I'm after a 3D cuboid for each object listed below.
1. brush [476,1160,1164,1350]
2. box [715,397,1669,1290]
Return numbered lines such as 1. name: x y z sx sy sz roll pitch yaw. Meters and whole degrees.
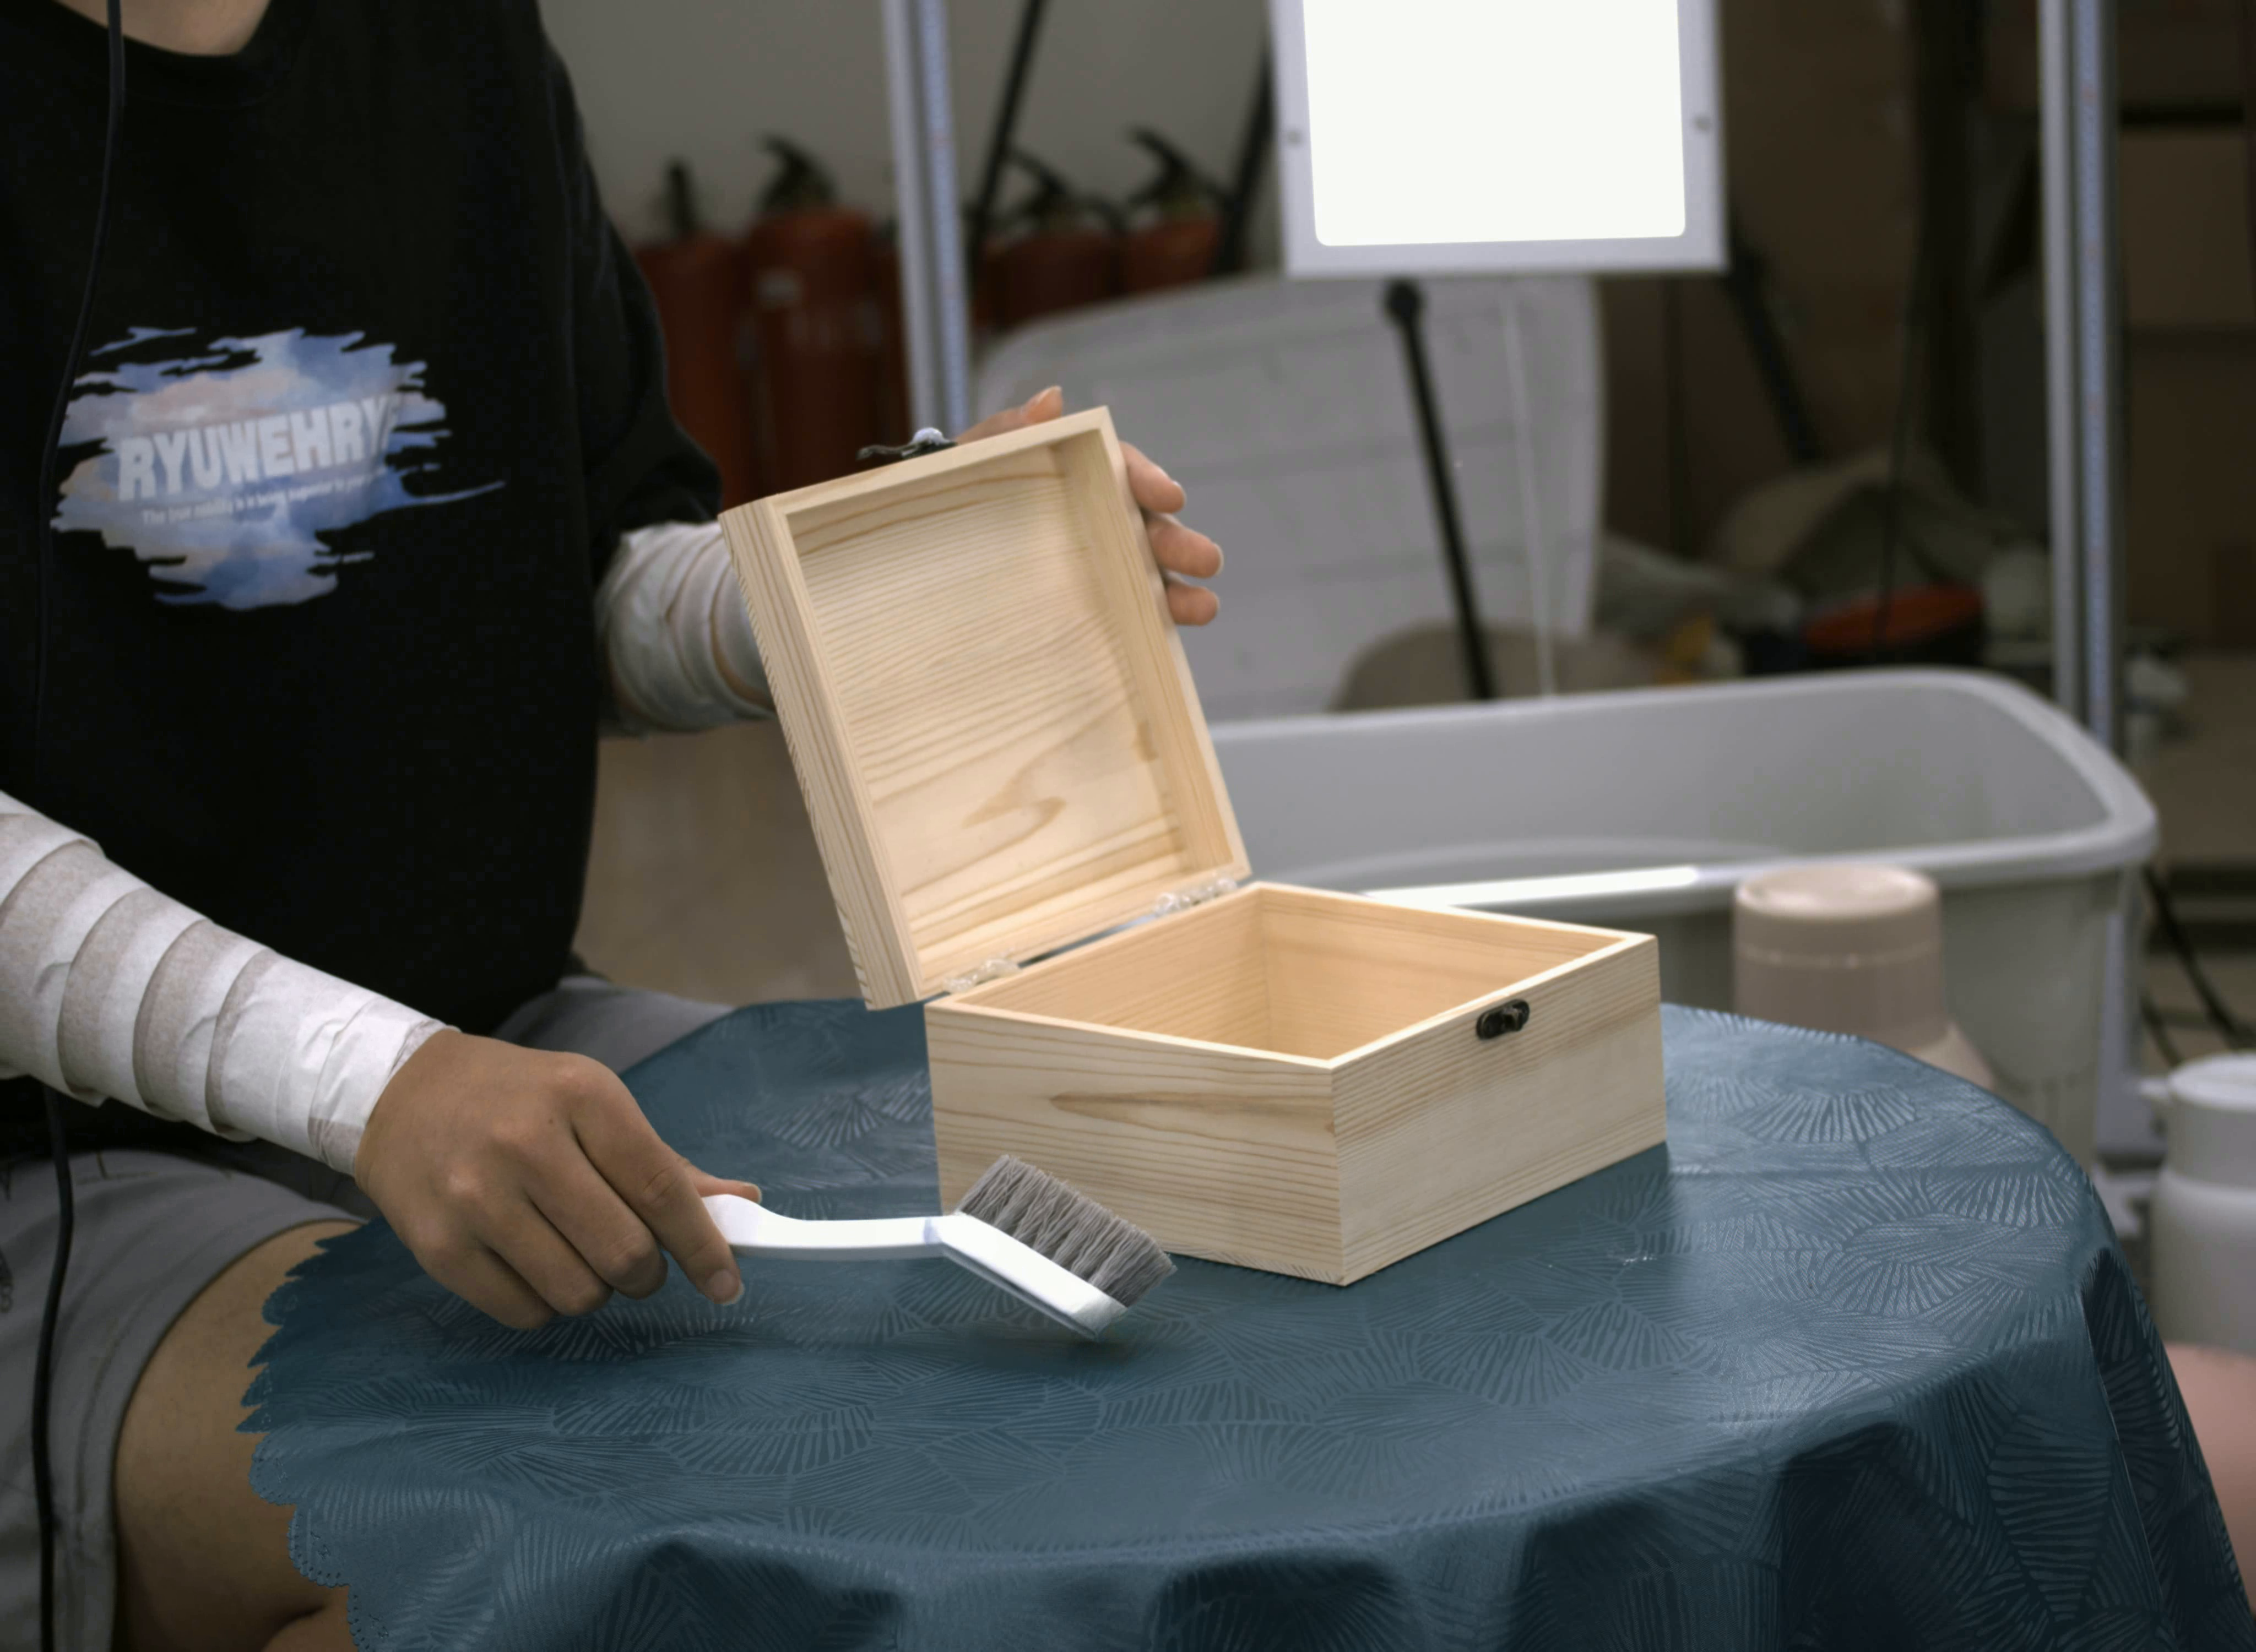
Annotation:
1. brush: -0.102 0.121 1.784 0.248 0.050 0.034 10 -18 28
2. box: 0.026 -0.003 1.894 0.271 0.254 0.177 7 19 41
